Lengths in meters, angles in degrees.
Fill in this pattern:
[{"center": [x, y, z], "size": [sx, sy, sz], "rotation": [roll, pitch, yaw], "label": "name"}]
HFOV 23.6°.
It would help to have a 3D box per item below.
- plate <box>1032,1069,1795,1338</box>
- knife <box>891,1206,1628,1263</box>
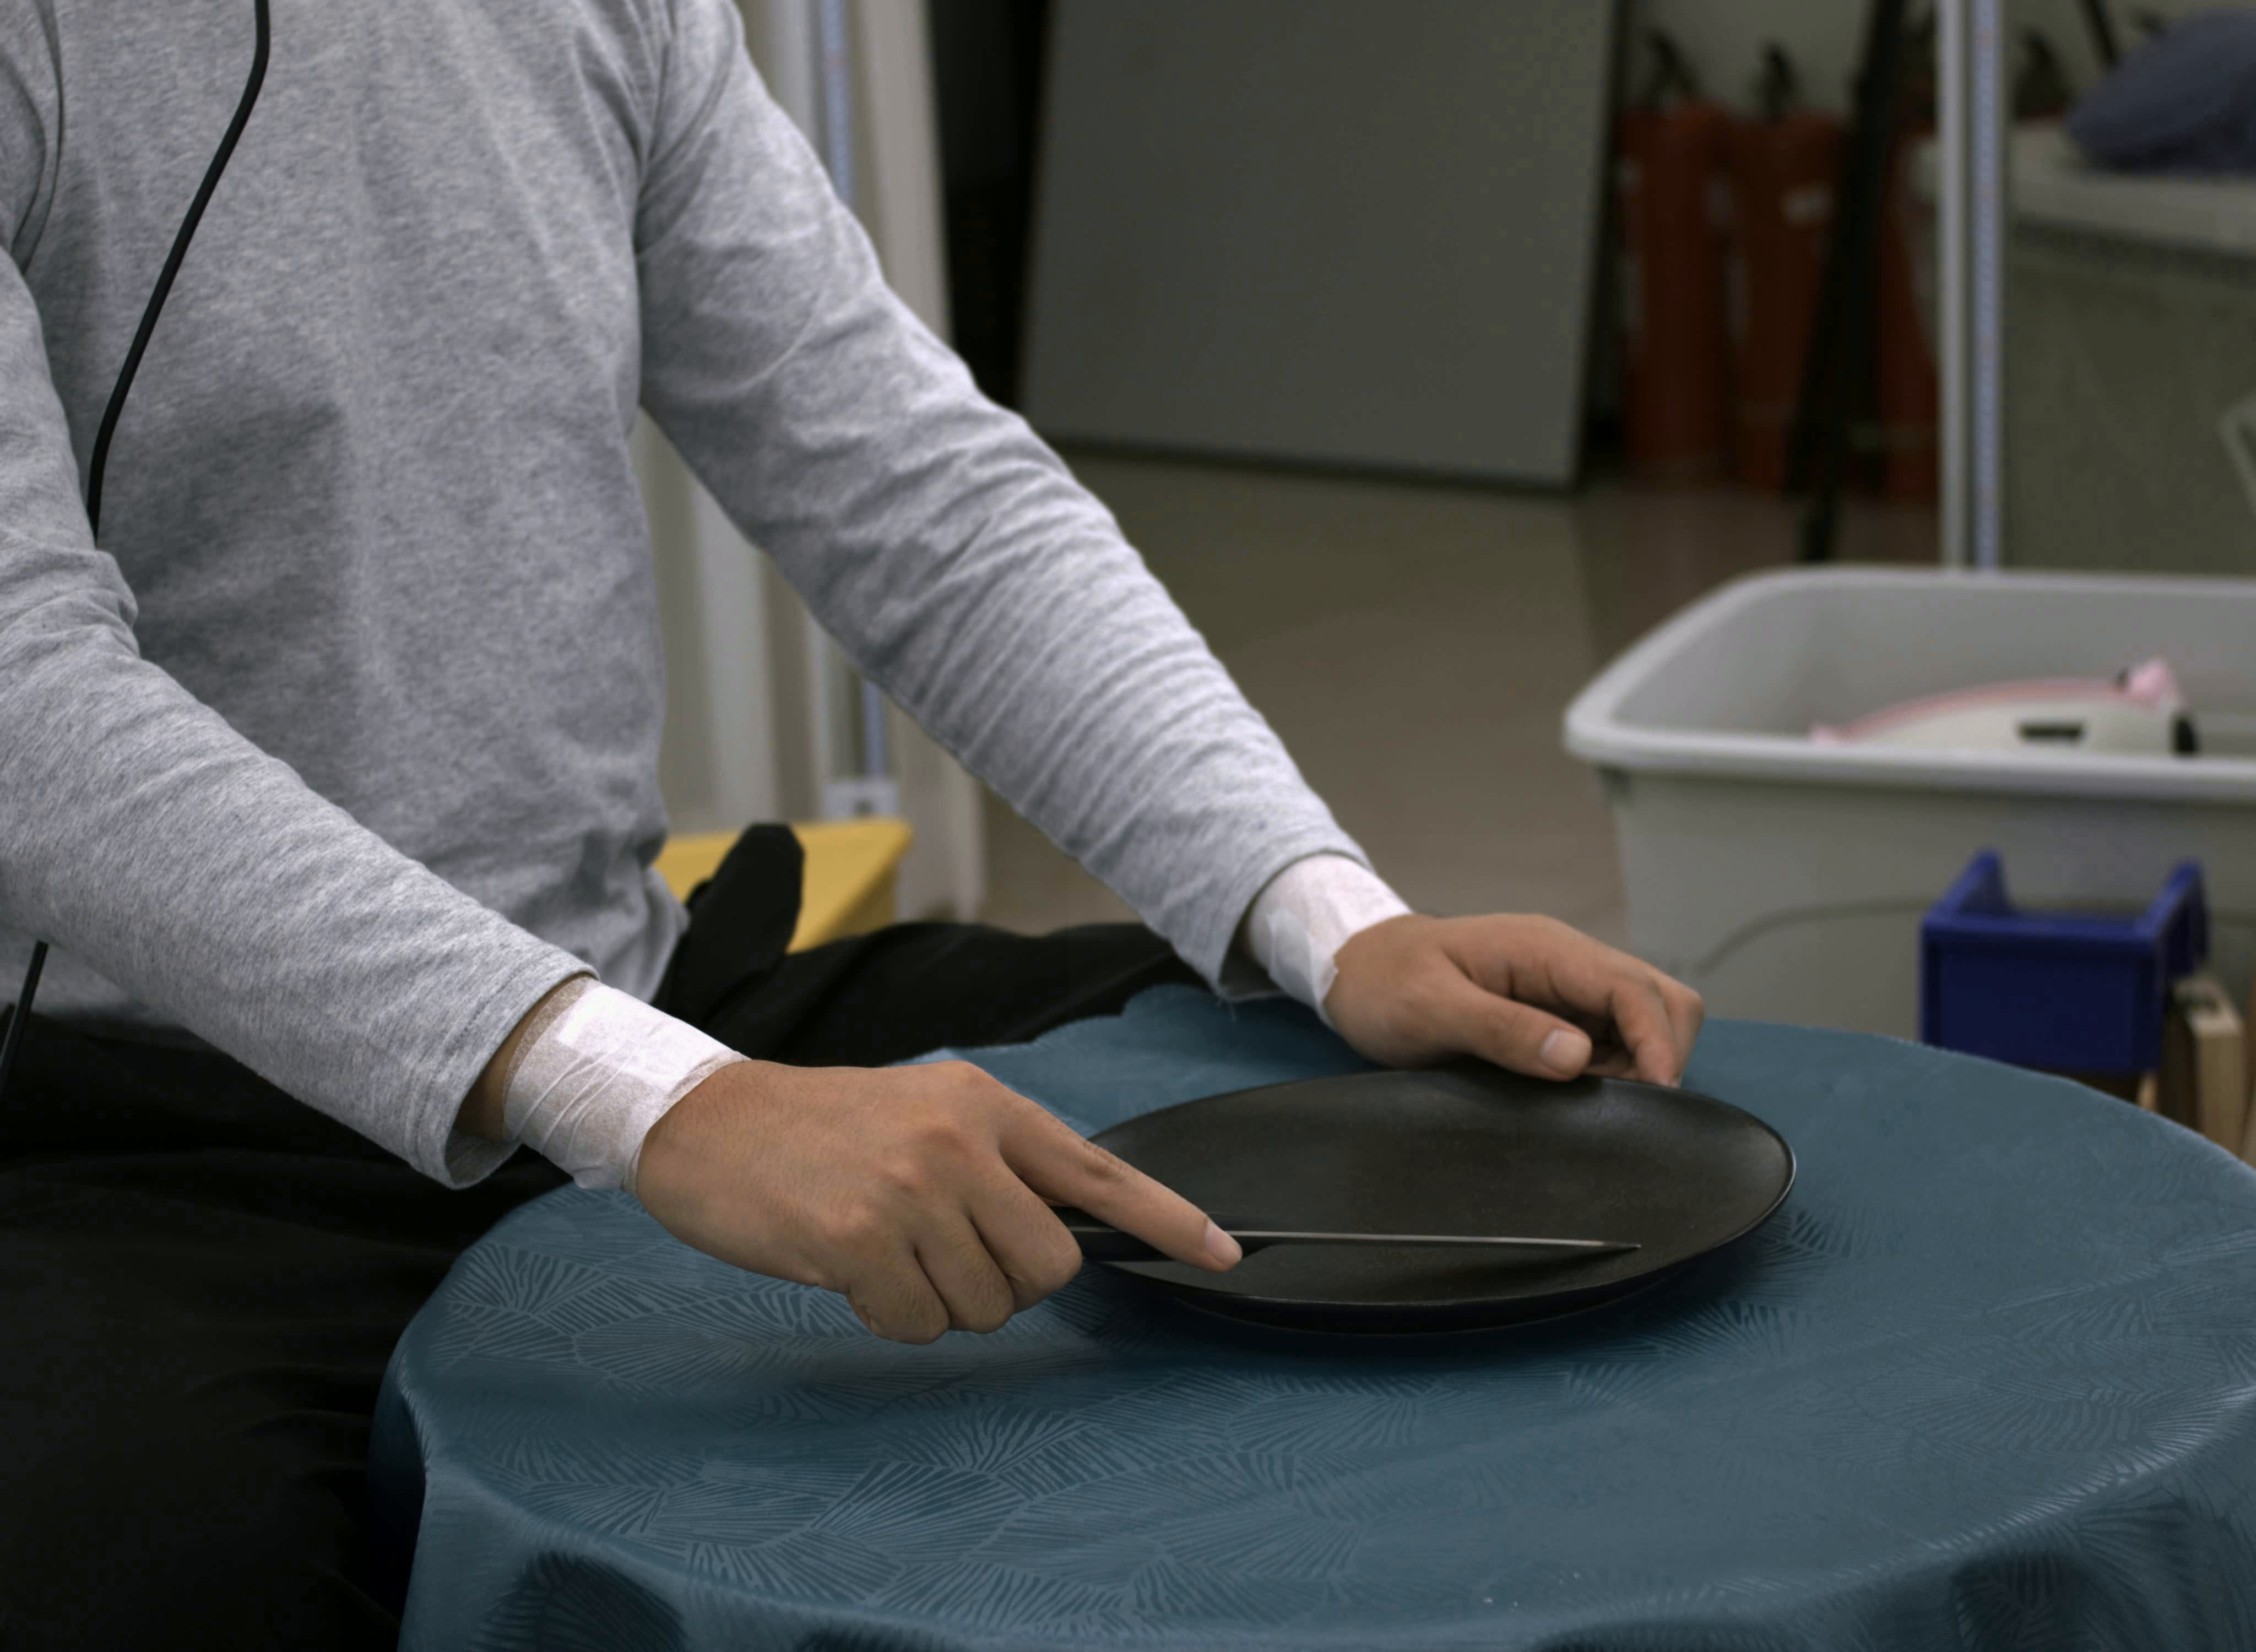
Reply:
[{"center": [0.090, 0.121, 1.700], "size": [0.241, 0.024, 0.245], "rotation": [-4, 13, 0], "label": "plate"}, {"center": [0.045, 0.125, 1.628], "size": [0.233, 0.016, 0.024], "rotation": [3, -7, -14], "label": "knife"}]
